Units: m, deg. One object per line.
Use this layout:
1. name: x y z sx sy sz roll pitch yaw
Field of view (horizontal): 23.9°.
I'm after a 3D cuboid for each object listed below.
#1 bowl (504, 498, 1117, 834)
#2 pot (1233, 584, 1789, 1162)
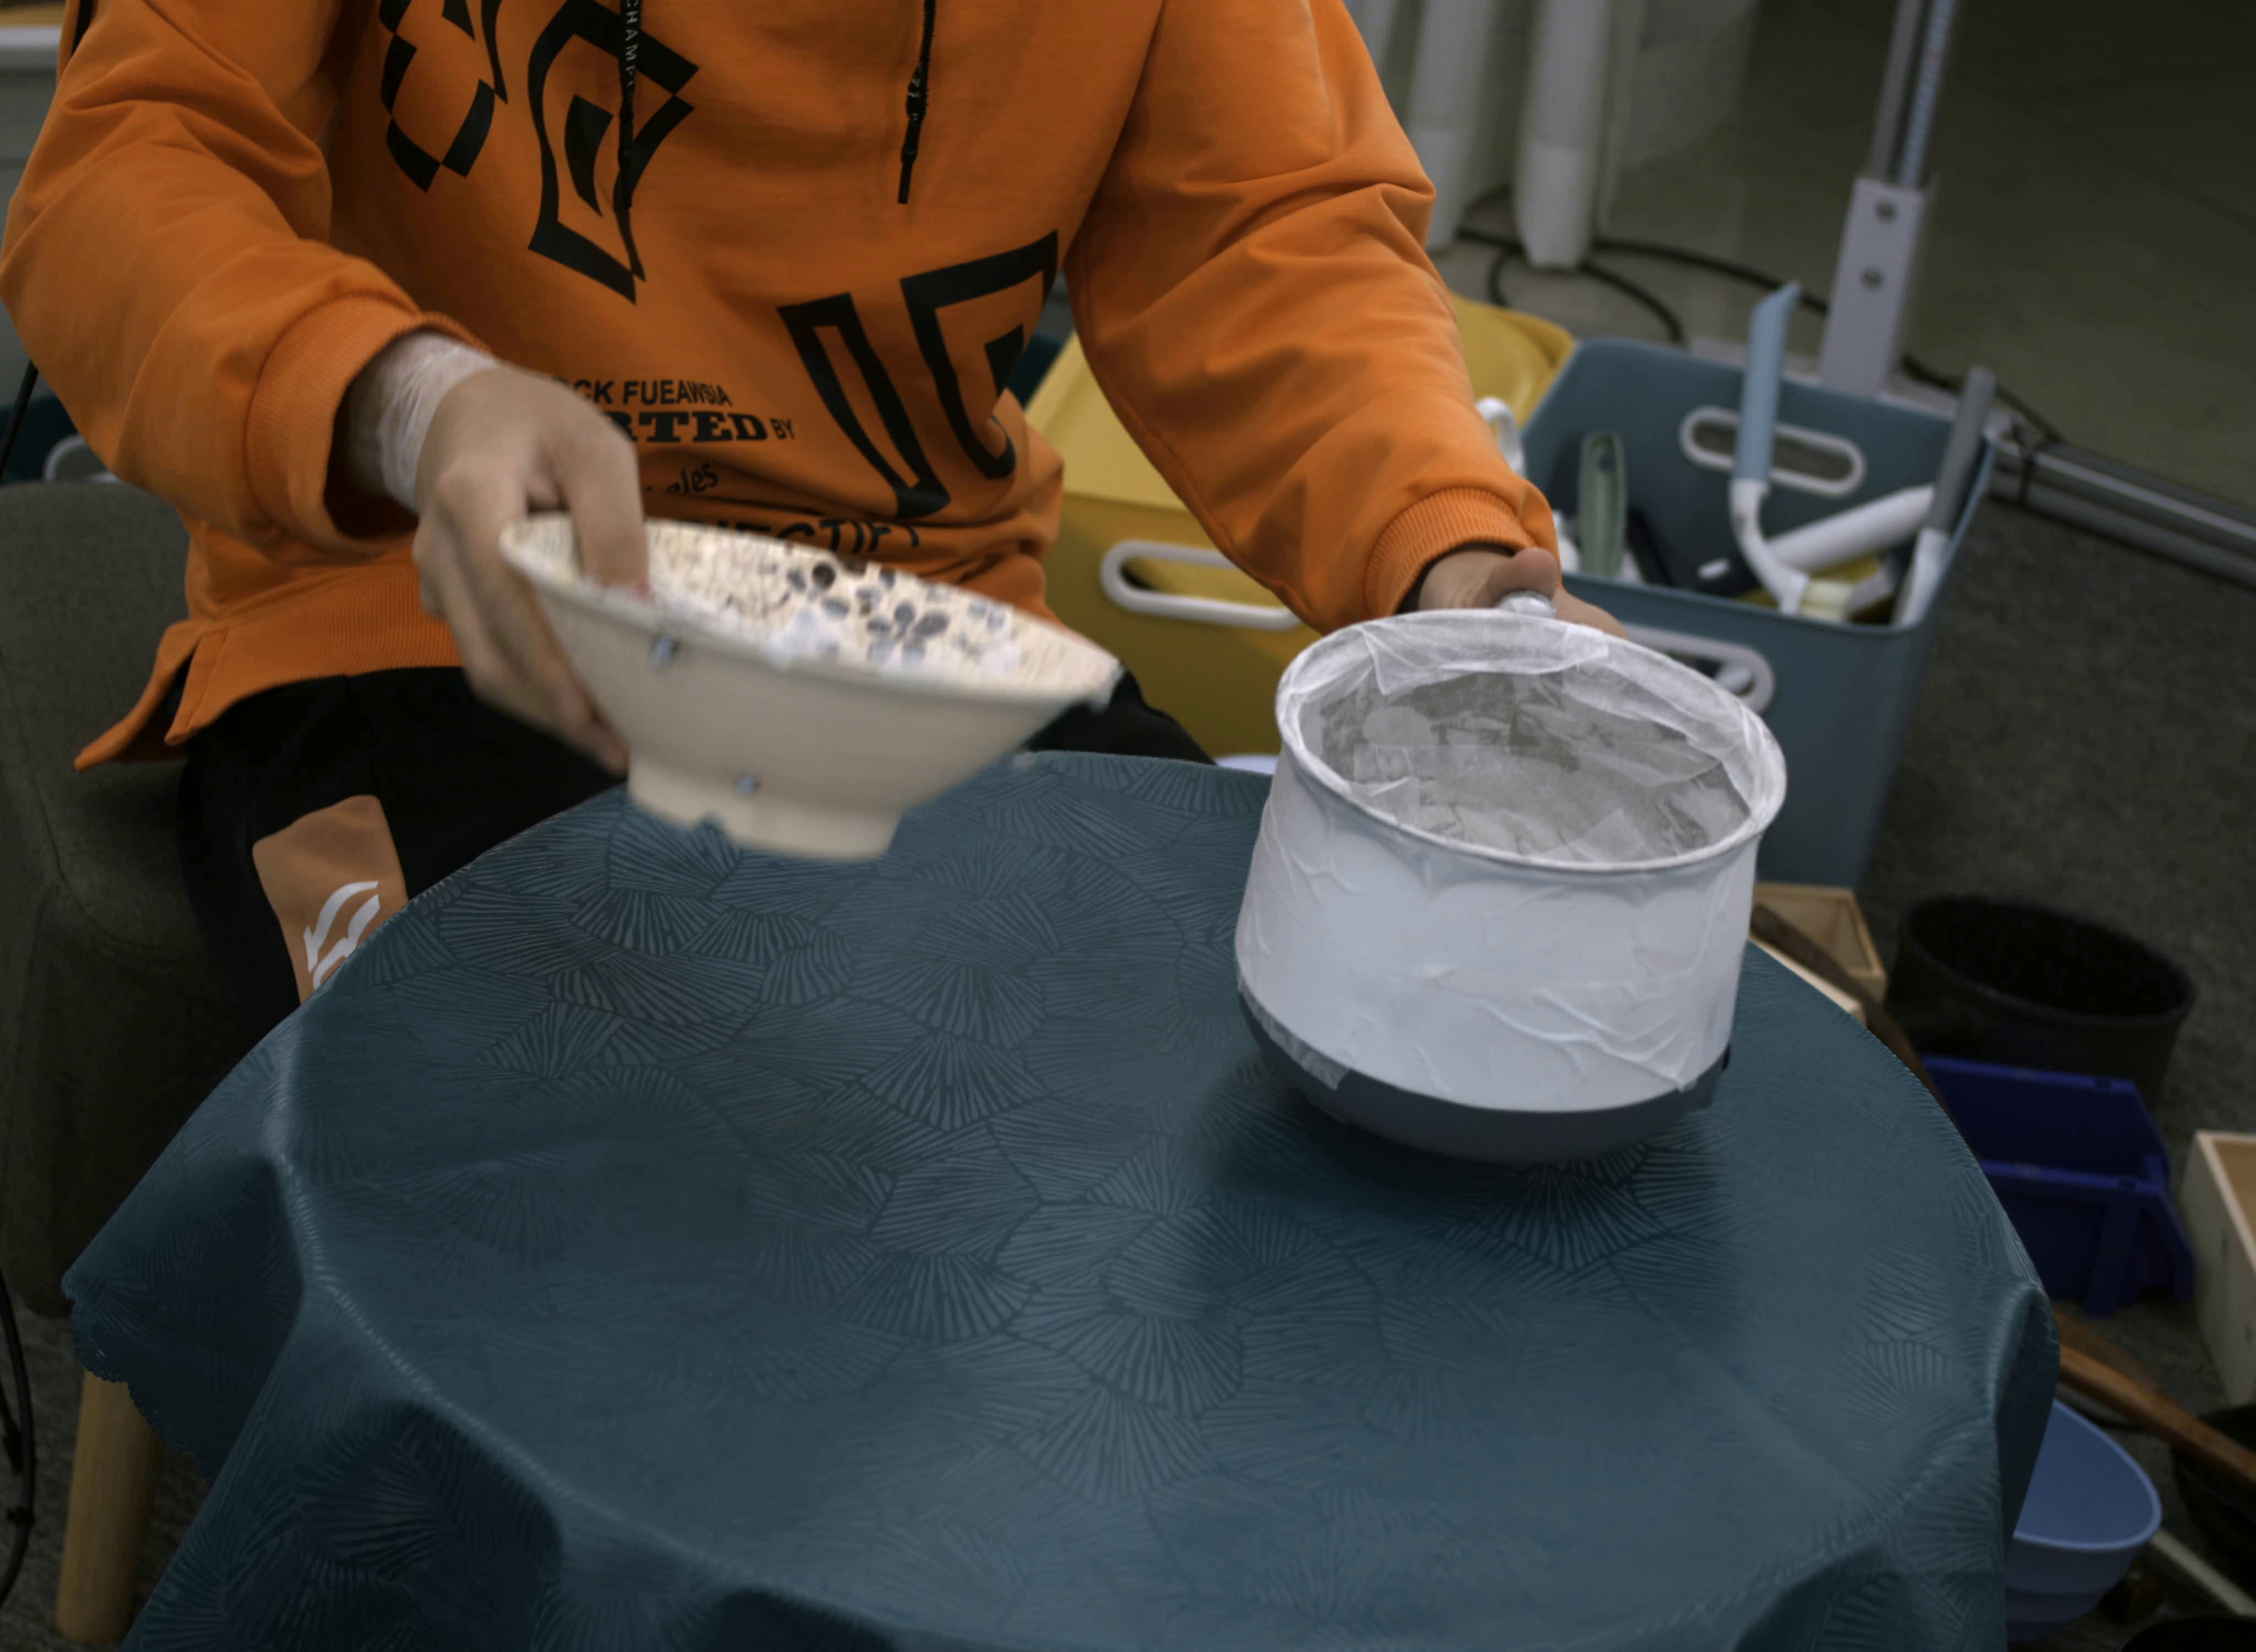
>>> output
1. bowl: -0.110 -0.045 1.727 0.203 0.078 0.204 13 7 -2
2. pot: 0.129 0.008 1.862 0.178 0.136 0.235 8 29 -2
